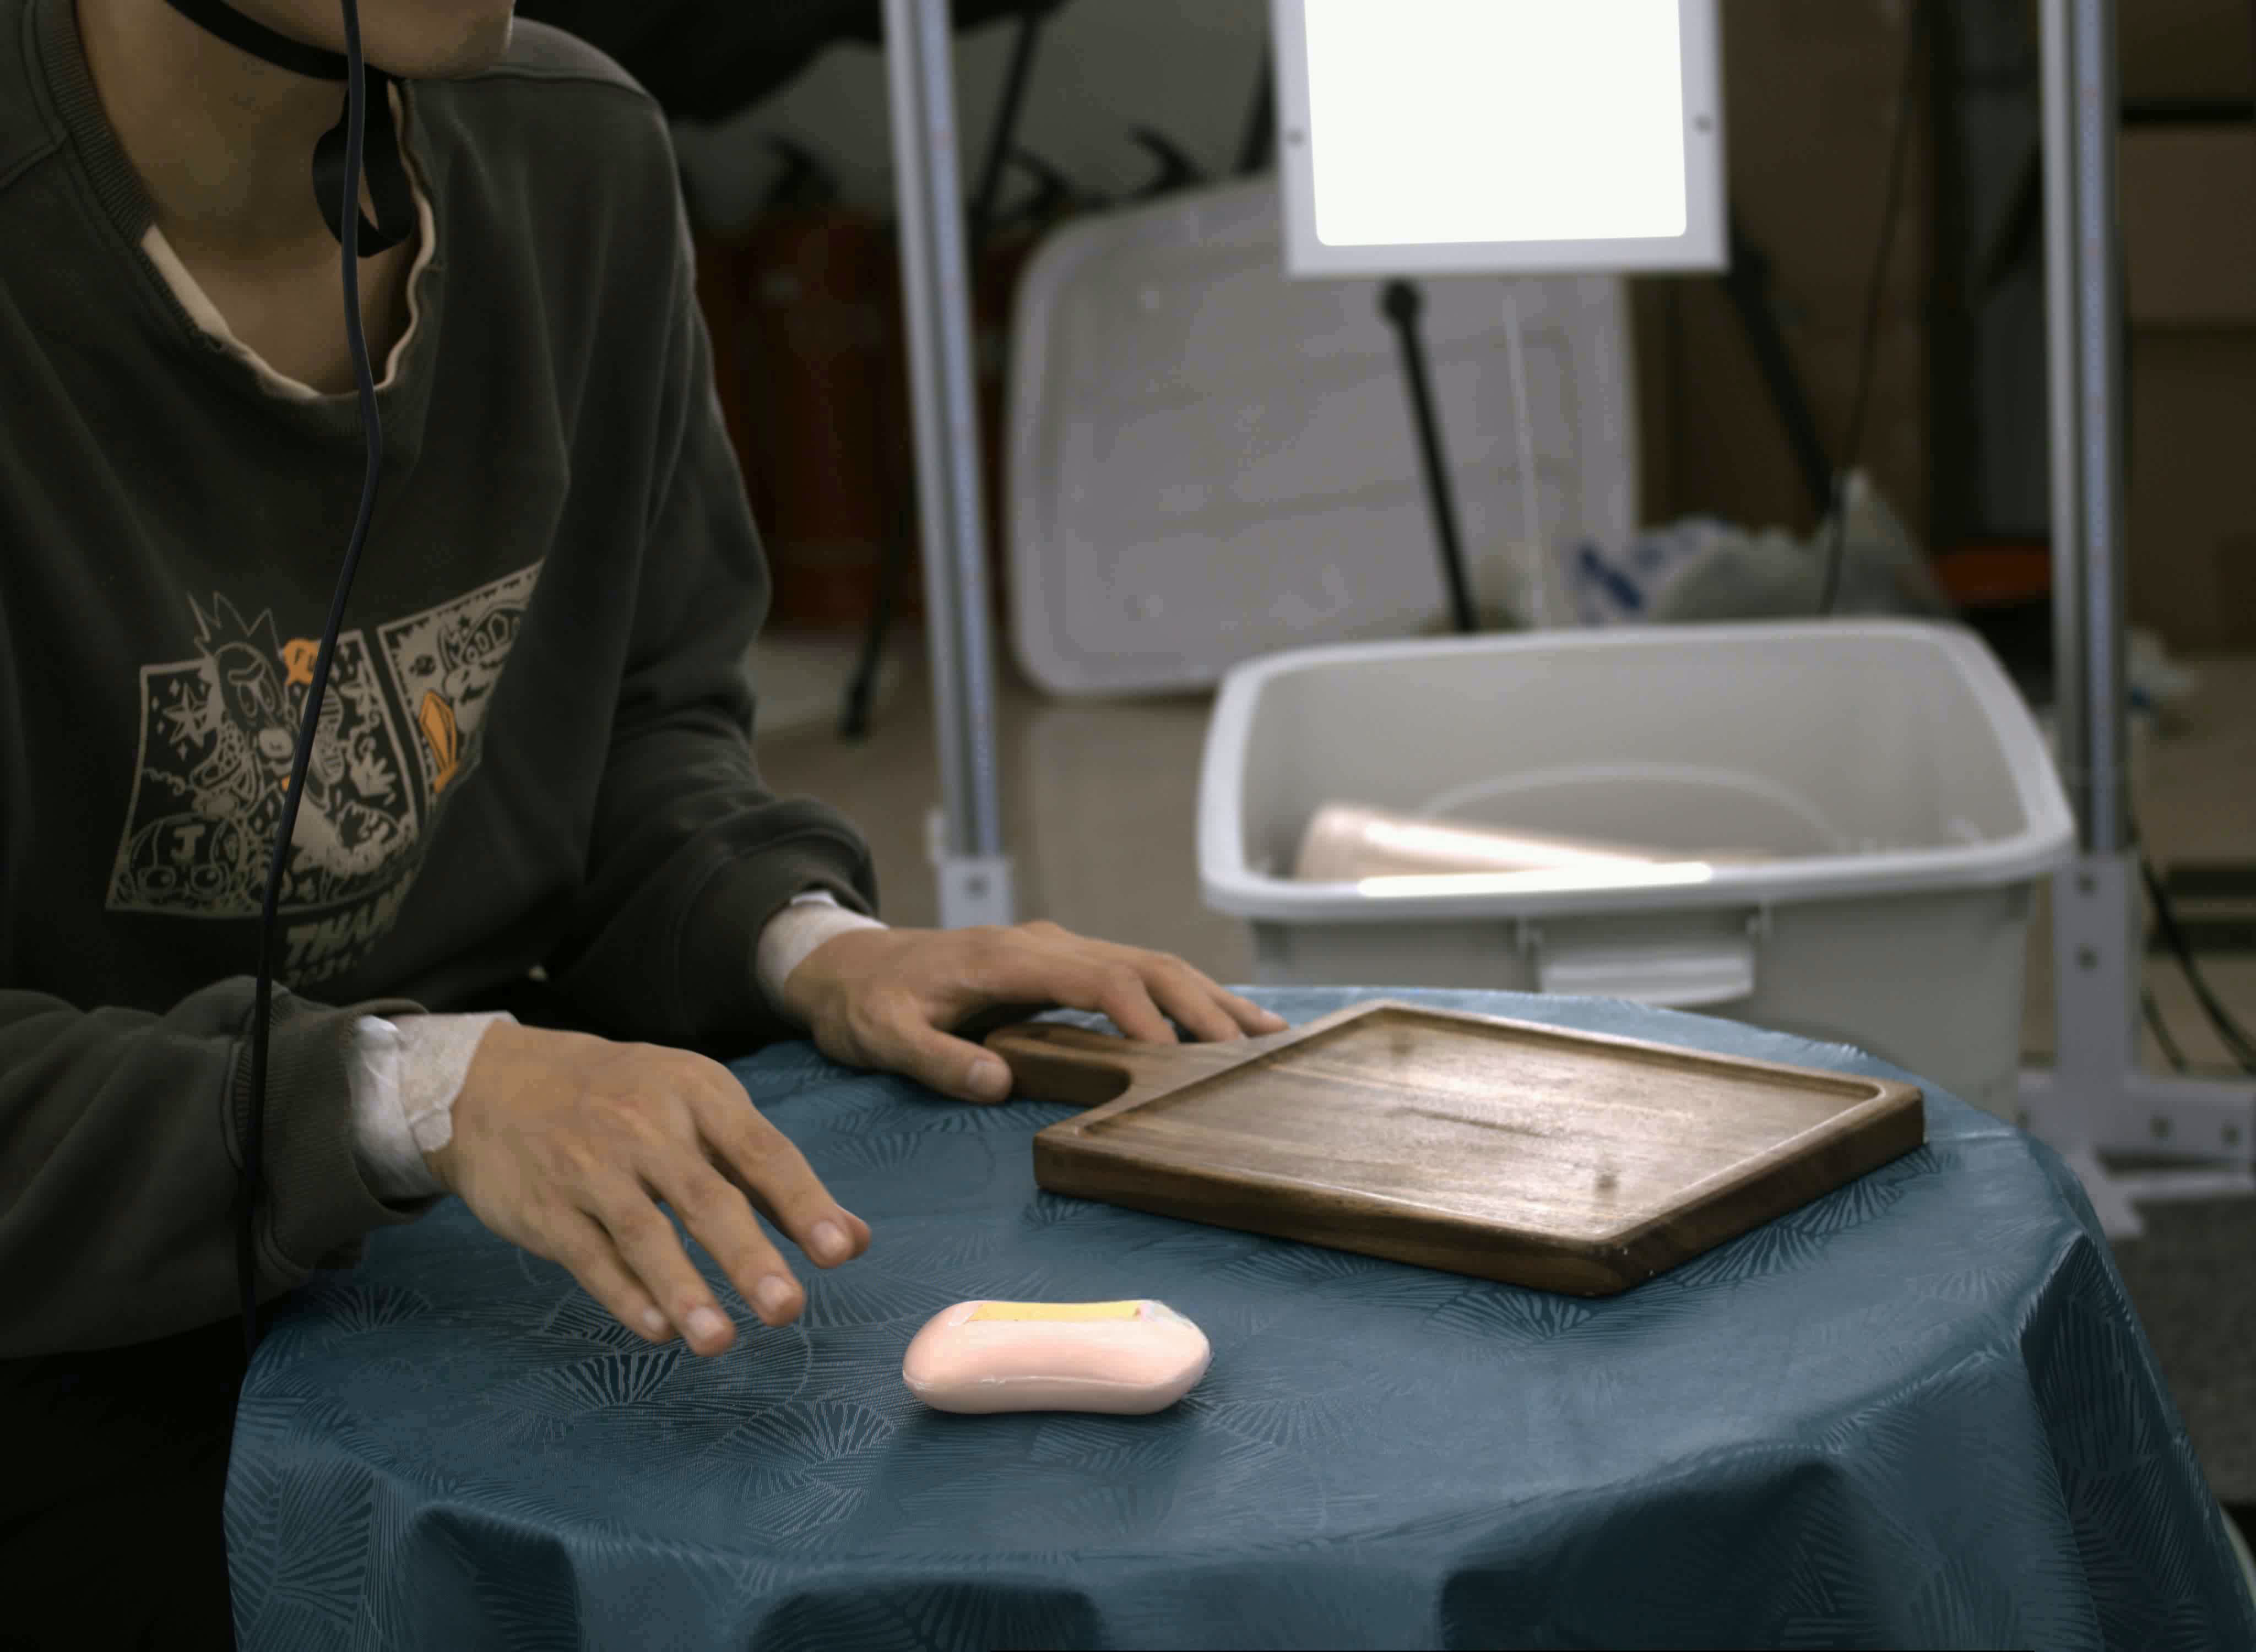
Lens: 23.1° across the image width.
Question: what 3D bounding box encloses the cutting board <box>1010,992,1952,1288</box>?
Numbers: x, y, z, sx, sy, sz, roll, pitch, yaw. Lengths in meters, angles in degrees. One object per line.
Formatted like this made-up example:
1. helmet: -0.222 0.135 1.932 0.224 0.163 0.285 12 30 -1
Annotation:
1. cutting board: 0.094 0.099 1.930 0.360 0.023 0.196 8 19 43

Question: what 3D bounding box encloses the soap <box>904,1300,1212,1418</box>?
1. soap: -0.021 0.164 1.694 0.095 0.030 0.049 -3 13 16
